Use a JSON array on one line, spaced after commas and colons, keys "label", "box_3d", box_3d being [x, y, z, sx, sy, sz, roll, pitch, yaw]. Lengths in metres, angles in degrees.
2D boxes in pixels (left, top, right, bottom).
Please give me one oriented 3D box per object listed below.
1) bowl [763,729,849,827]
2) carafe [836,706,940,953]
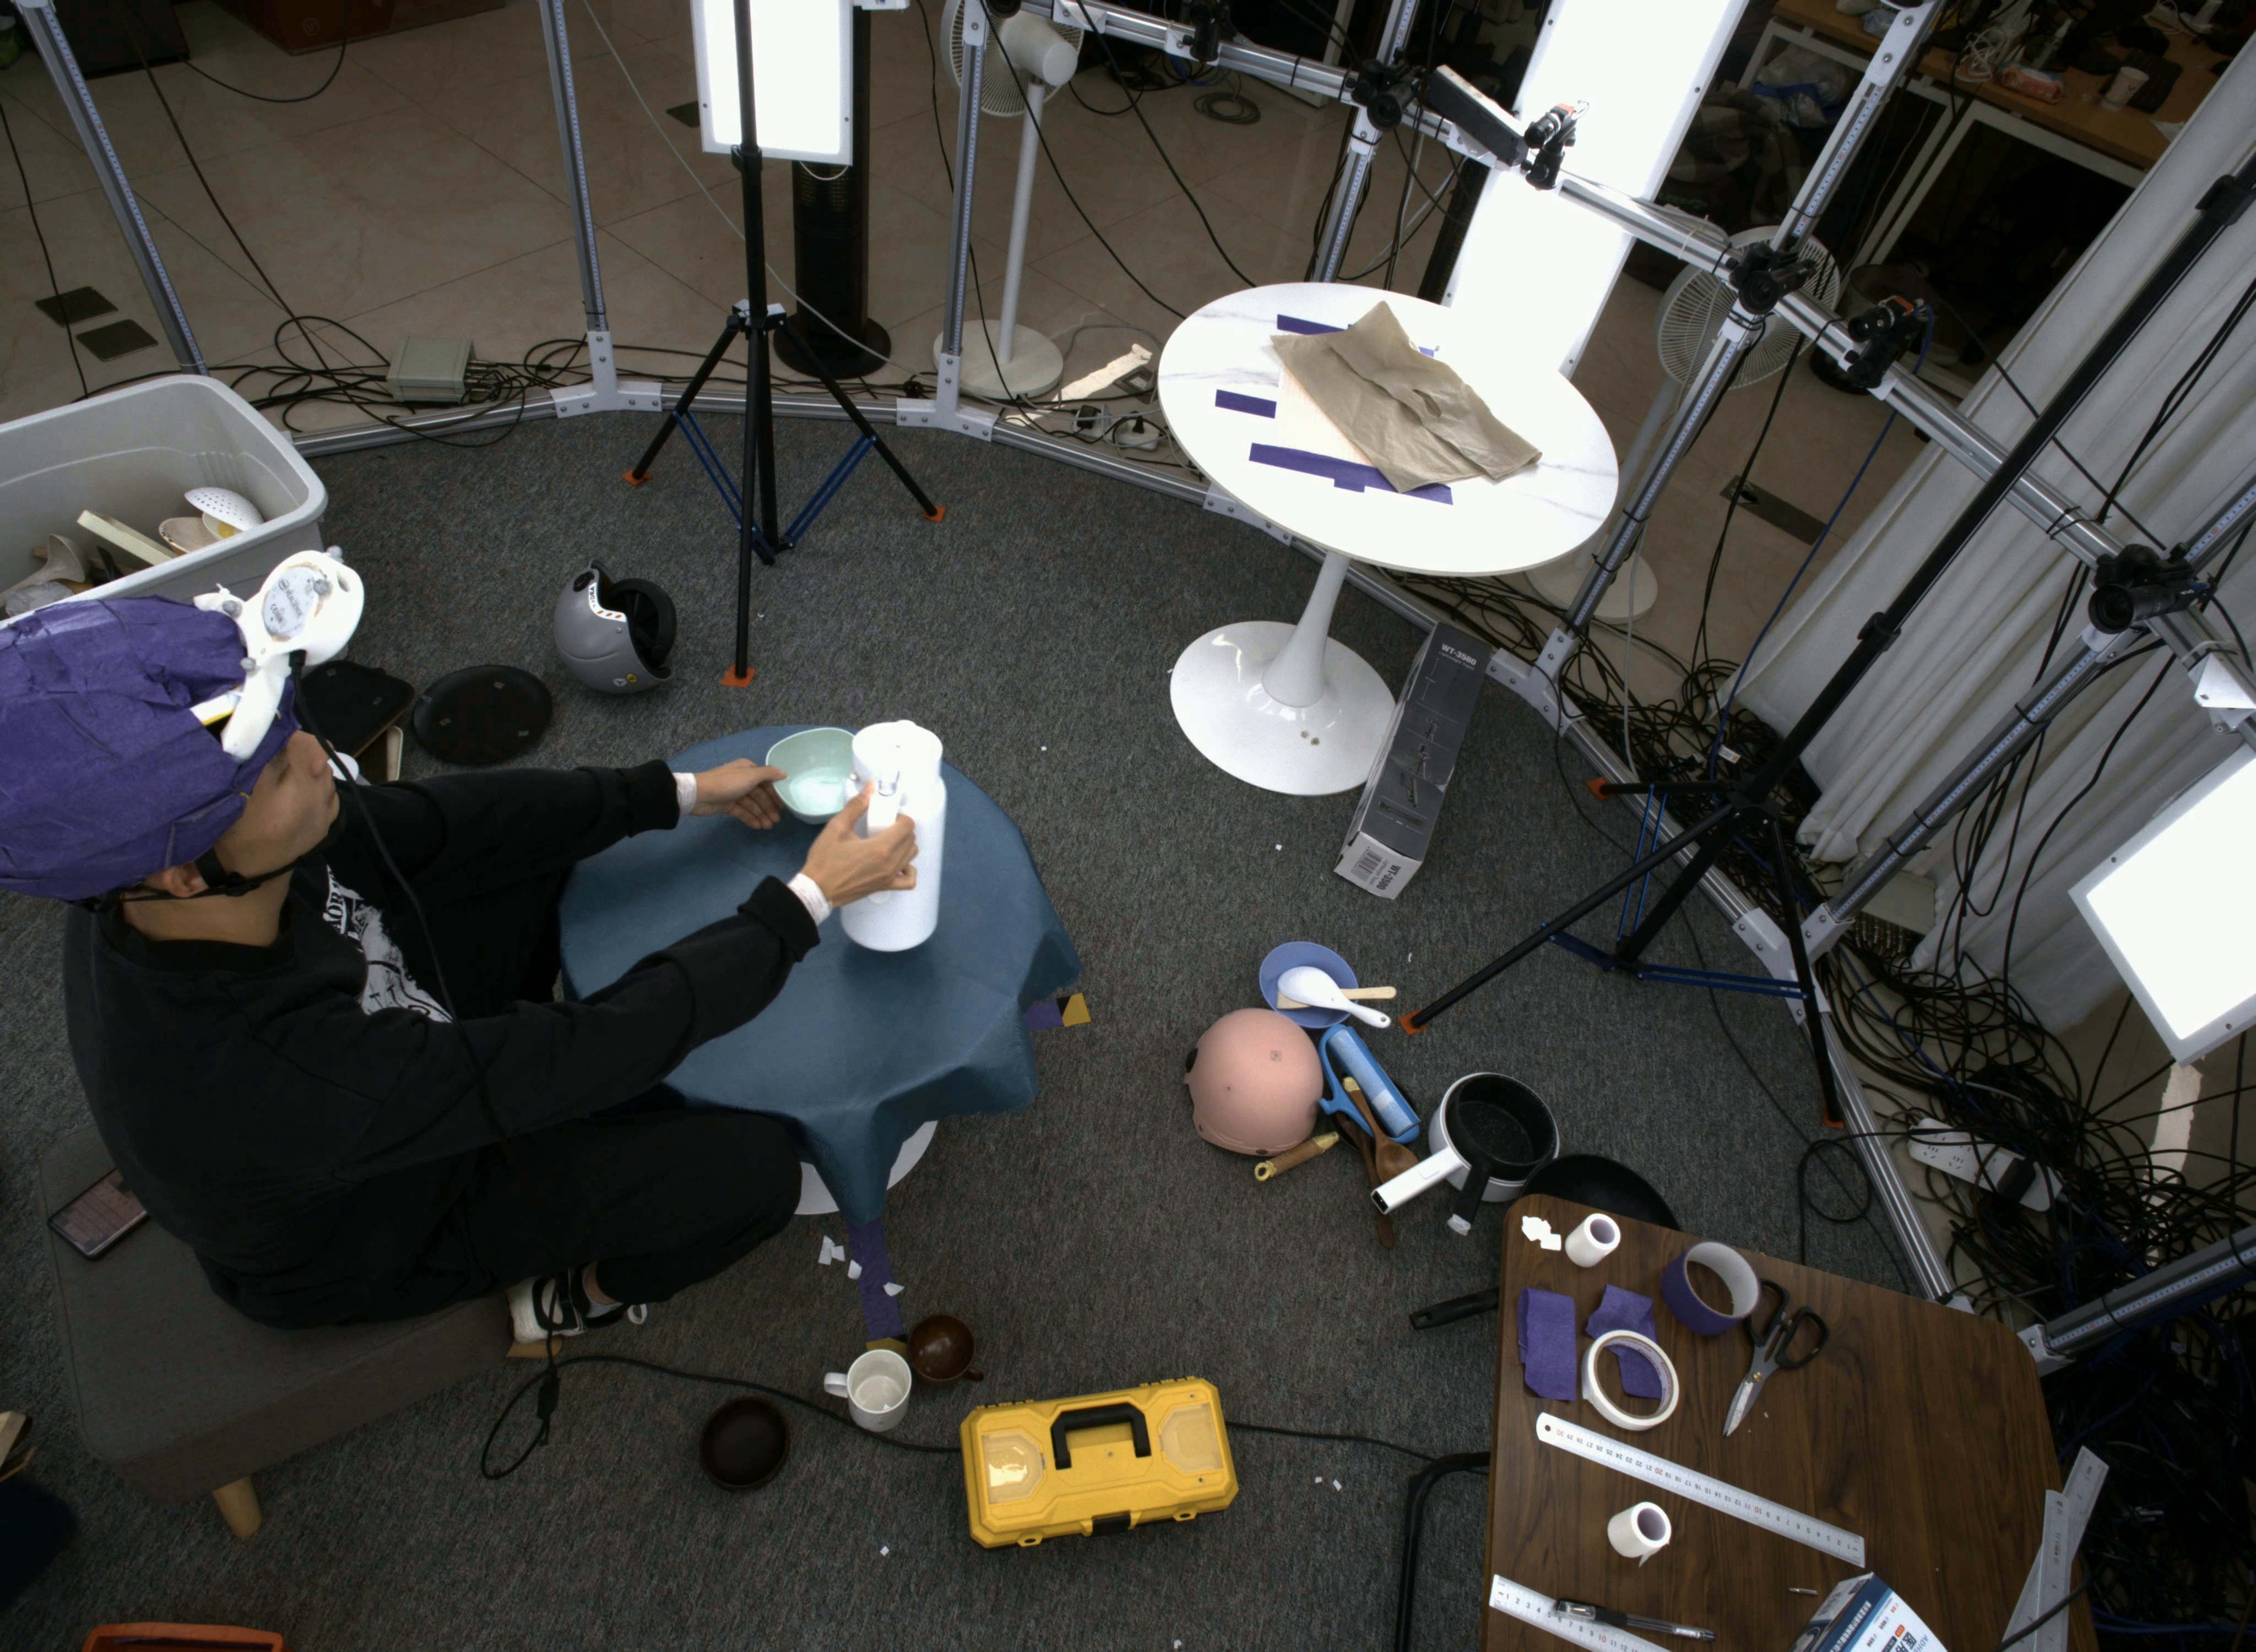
[{"label": "bowl", "box_3d": [-0.405, -0.054, 1.706, 0.152, 0.059, 0.149, 10, 53, -11]}, {"label": "carafe", "box_3d": [-0.279, 0.020, 1.502, 0.123, 0.276, 0.169, 7, 35, -6]}]
